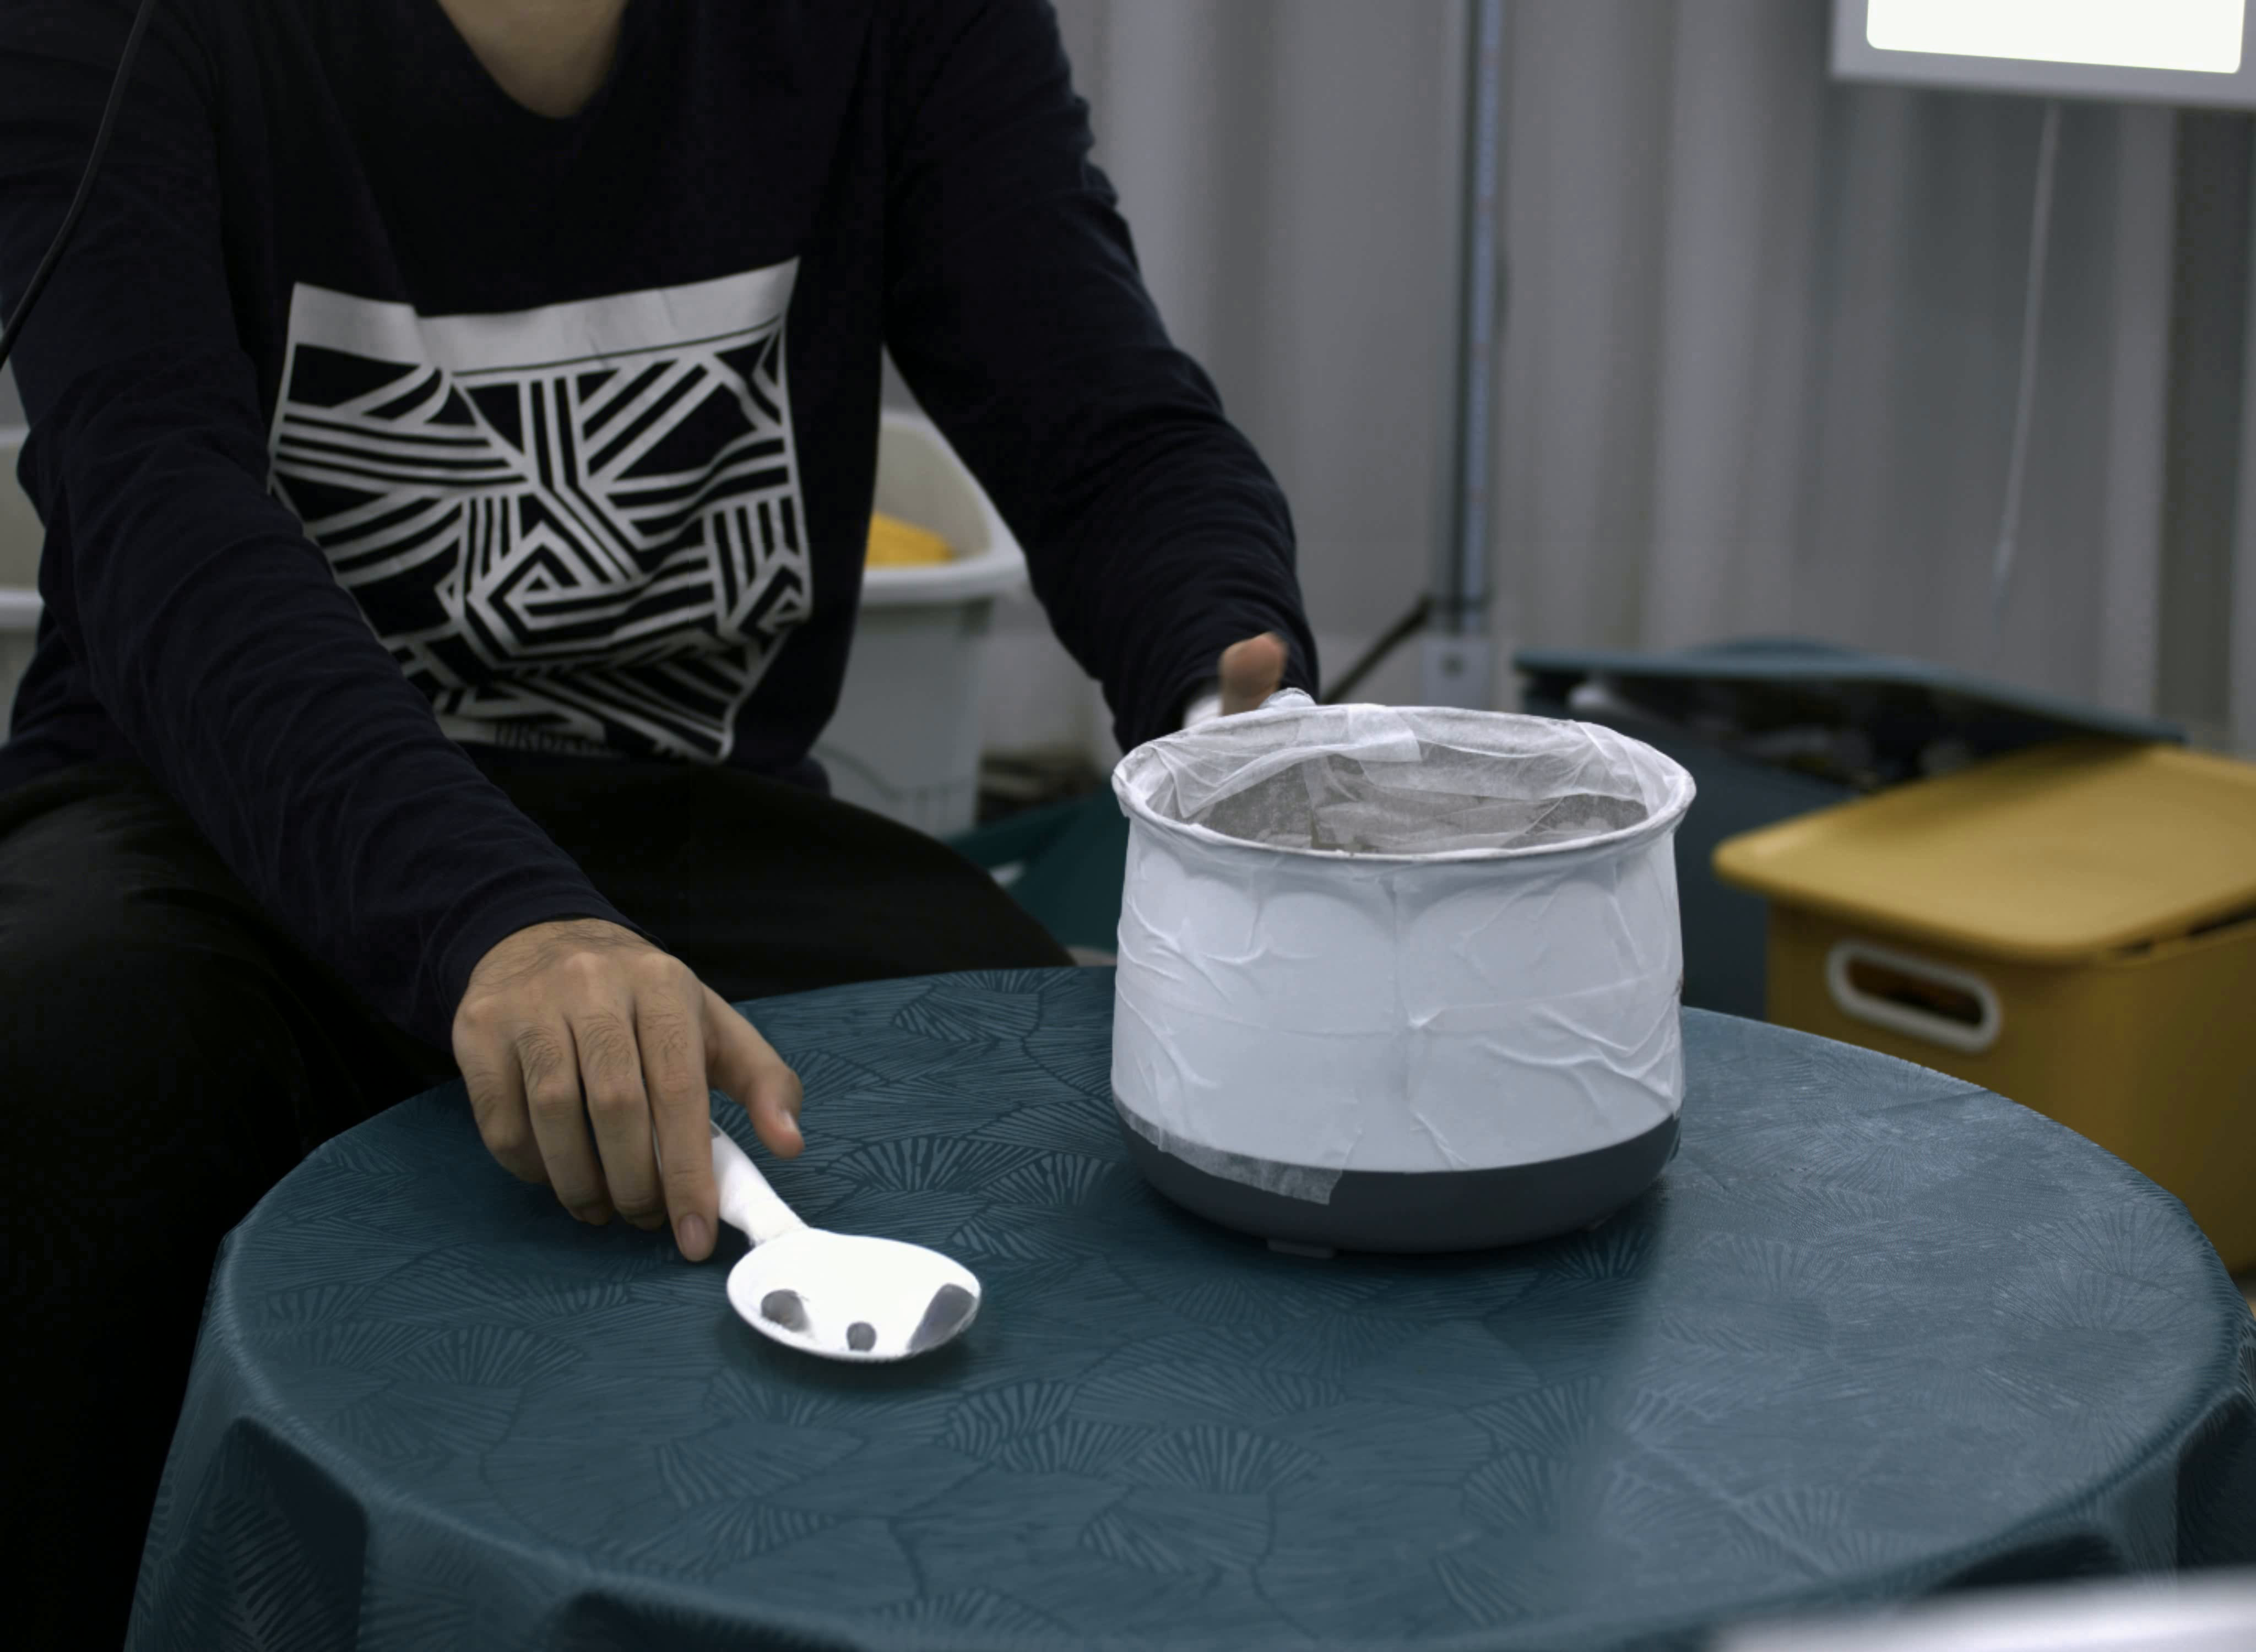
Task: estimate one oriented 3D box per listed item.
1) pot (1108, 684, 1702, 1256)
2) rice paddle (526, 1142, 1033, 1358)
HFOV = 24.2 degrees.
[{"bbox_3d":[0.074,0.039,1.634,0.179,0.137,0.231,-3,16,-20],"label":"pot"},{"bbox_3d":[-0.104,0.125,1.528,0.069,0.029,0.202,-12,16,-40],"label":"rice paddle"}]
